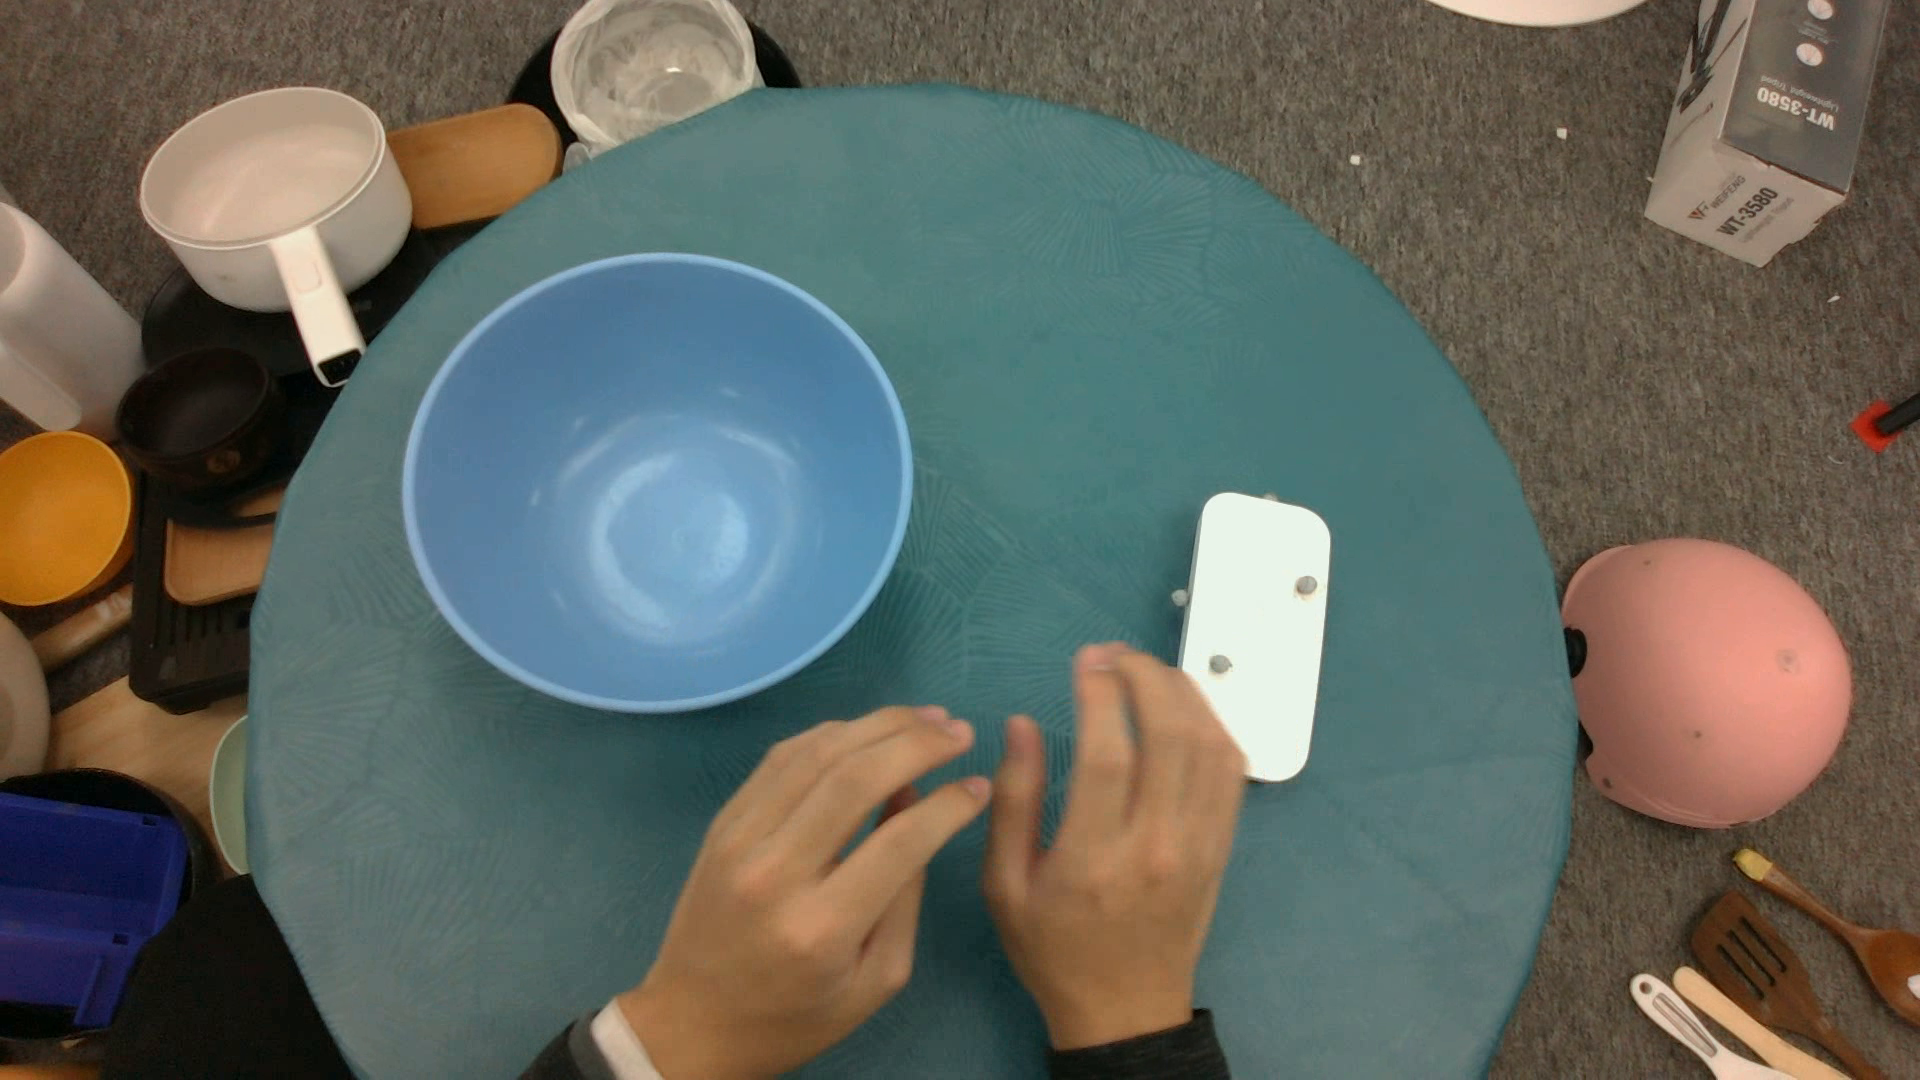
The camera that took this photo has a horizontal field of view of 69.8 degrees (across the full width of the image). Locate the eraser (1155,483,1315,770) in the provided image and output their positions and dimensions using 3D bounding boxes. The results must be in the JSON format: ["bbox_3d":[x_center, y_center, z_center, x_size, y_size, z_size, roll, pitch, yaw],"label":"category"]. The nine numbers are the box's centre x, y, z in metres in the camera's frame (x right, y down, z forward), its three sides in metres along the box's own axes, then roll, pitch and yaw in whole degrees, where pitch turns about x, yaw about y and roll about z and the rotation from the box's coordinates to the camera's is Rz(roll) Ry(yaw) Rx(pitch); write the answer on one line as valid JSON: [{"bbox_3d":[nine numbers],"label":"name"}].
[{"bbox_3d":[0.124,0.038,0.629,0.063,0.034,0.132,12,69,-1],"label":"eraser"}]

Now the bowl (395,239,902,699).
[{"bbox_3d":[-0.126,-0.019,0.587,0.196,0.095,0.197,2,69,-6],"label":"bowl"}]
